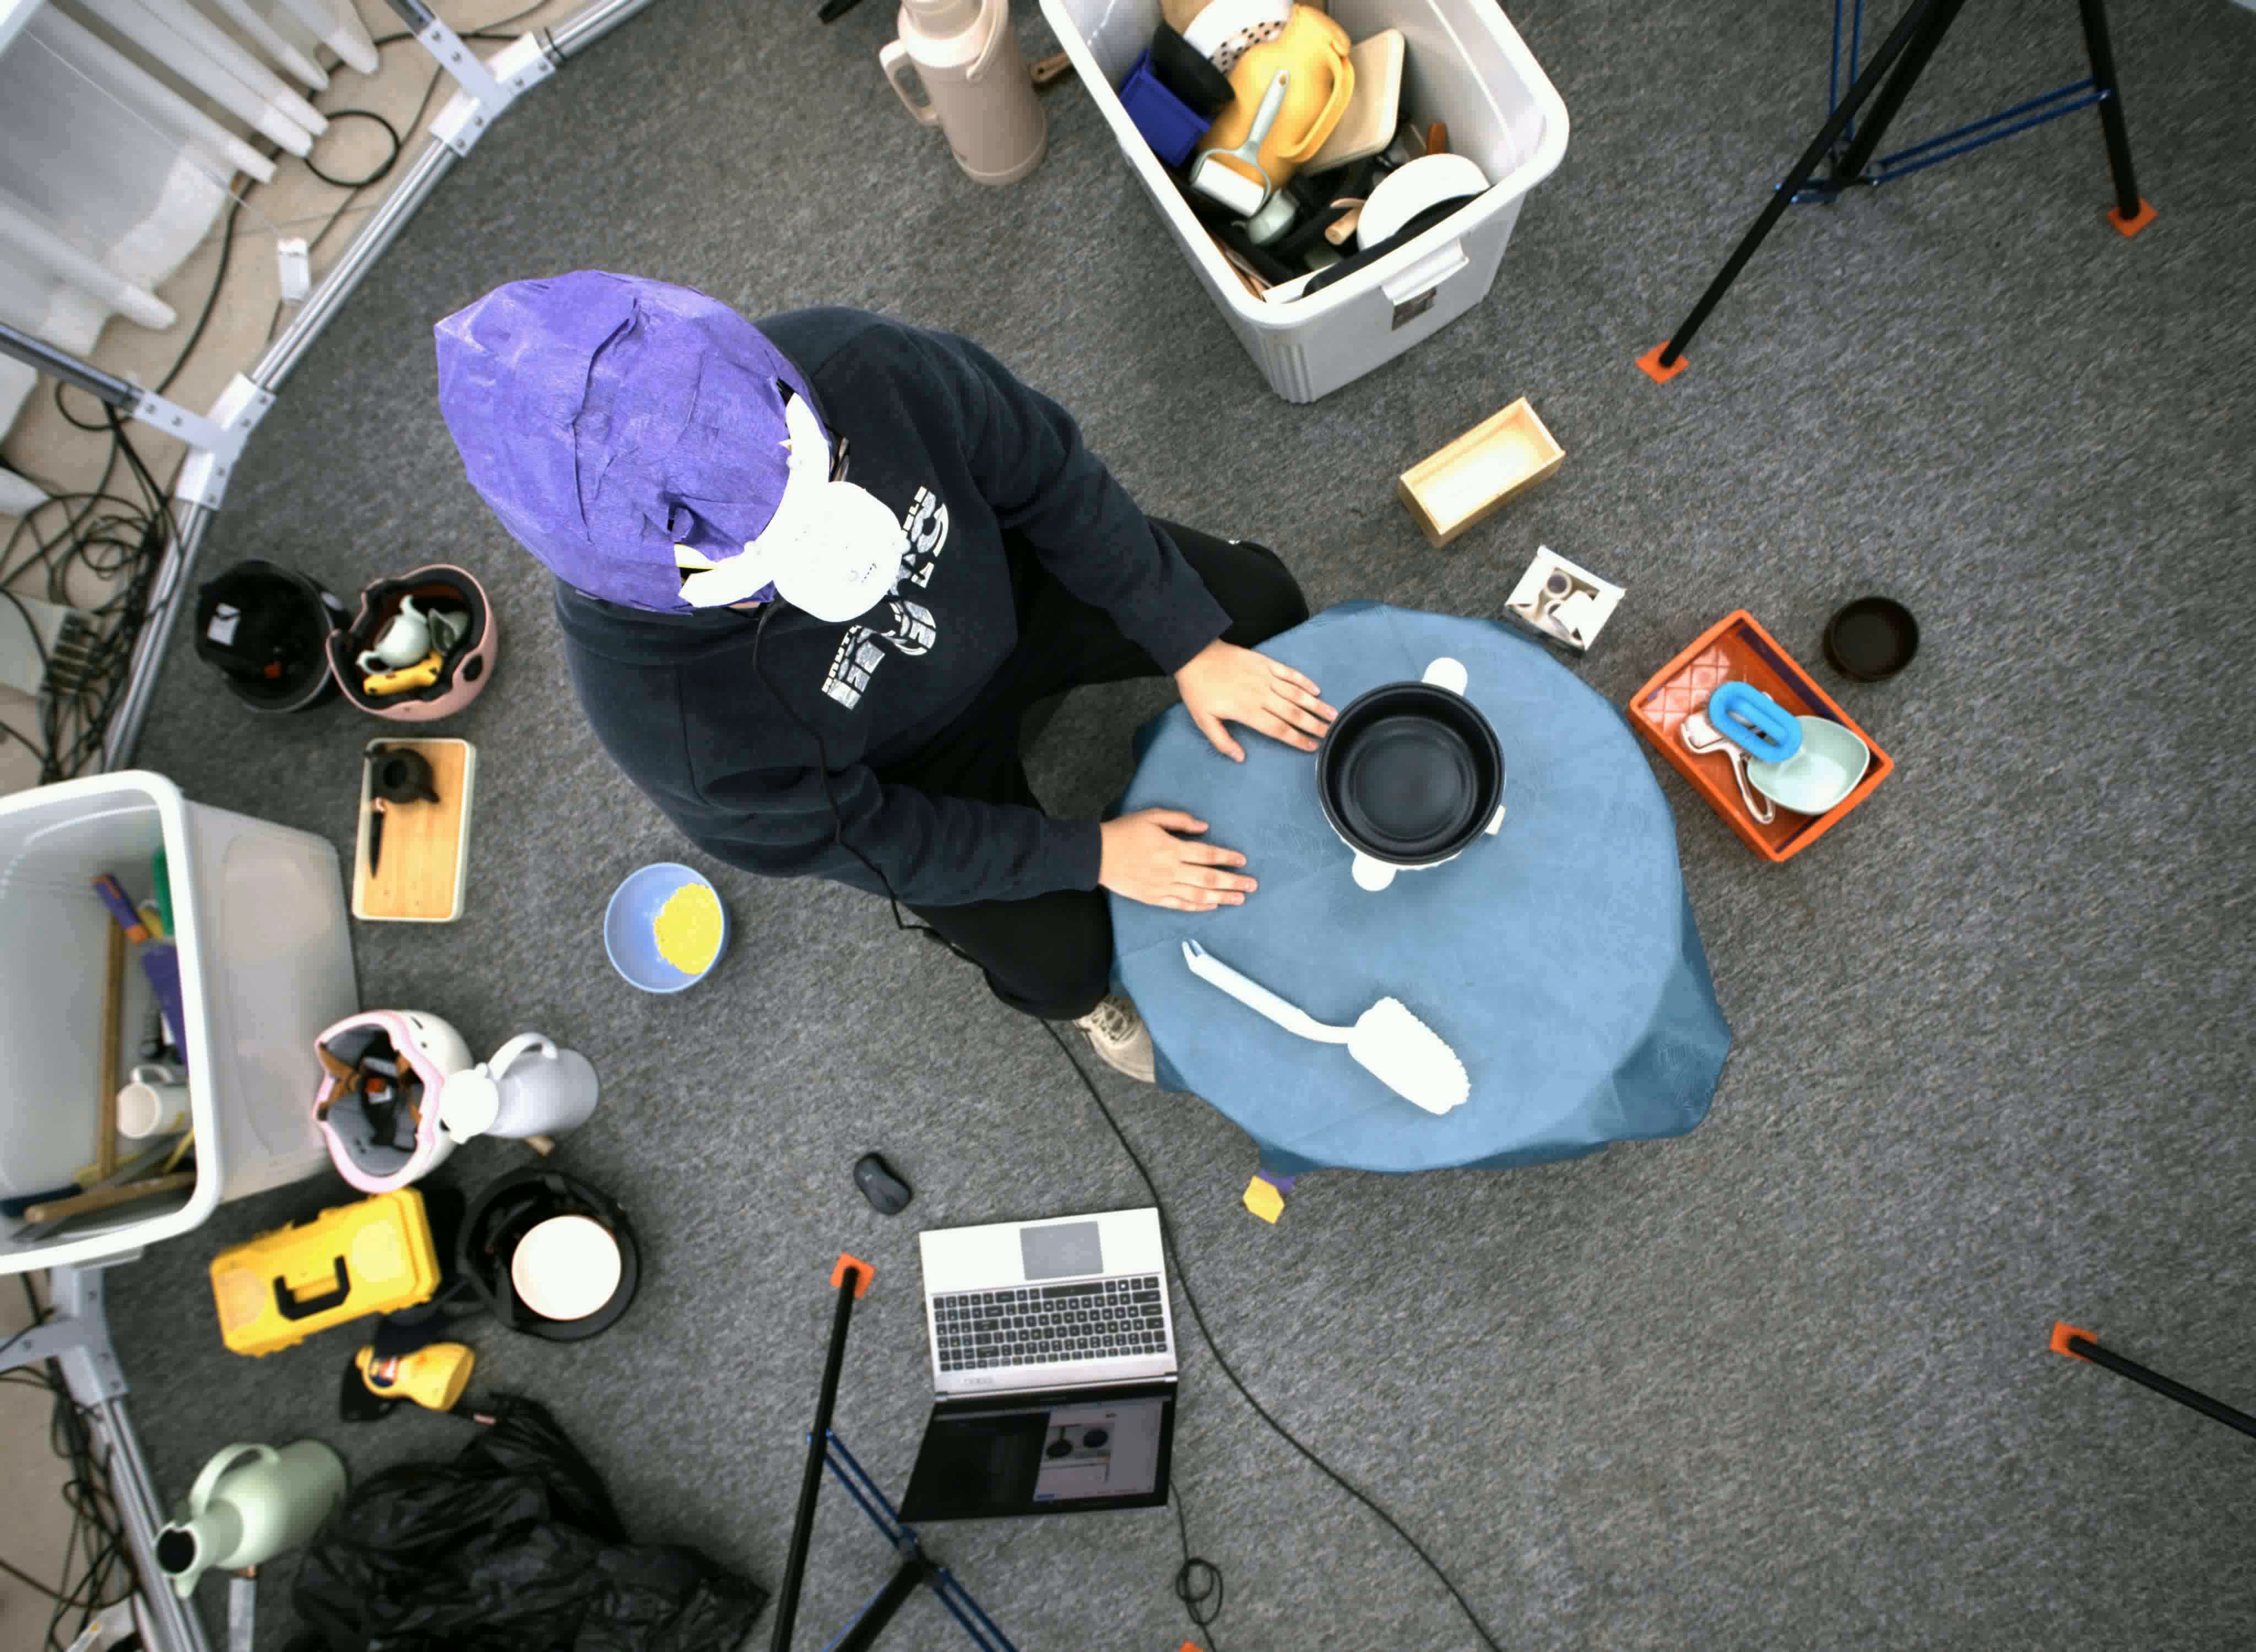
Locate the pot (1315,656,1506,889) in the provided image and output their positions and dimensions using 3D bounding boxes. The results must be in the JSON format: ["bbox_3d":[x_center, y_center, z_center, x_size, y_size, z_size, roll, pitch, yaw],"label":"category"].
[{"bbox_3d":[0.289,-0.046,1.394,0.190,0.142,0.240,20,91,14],"label":"pot"}]

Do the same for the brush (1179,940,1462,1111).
[{"bbox_3d":[0.199,0.187,1.425,0.325,0.083,0.085,30,96,10],"label":"brush"}]
